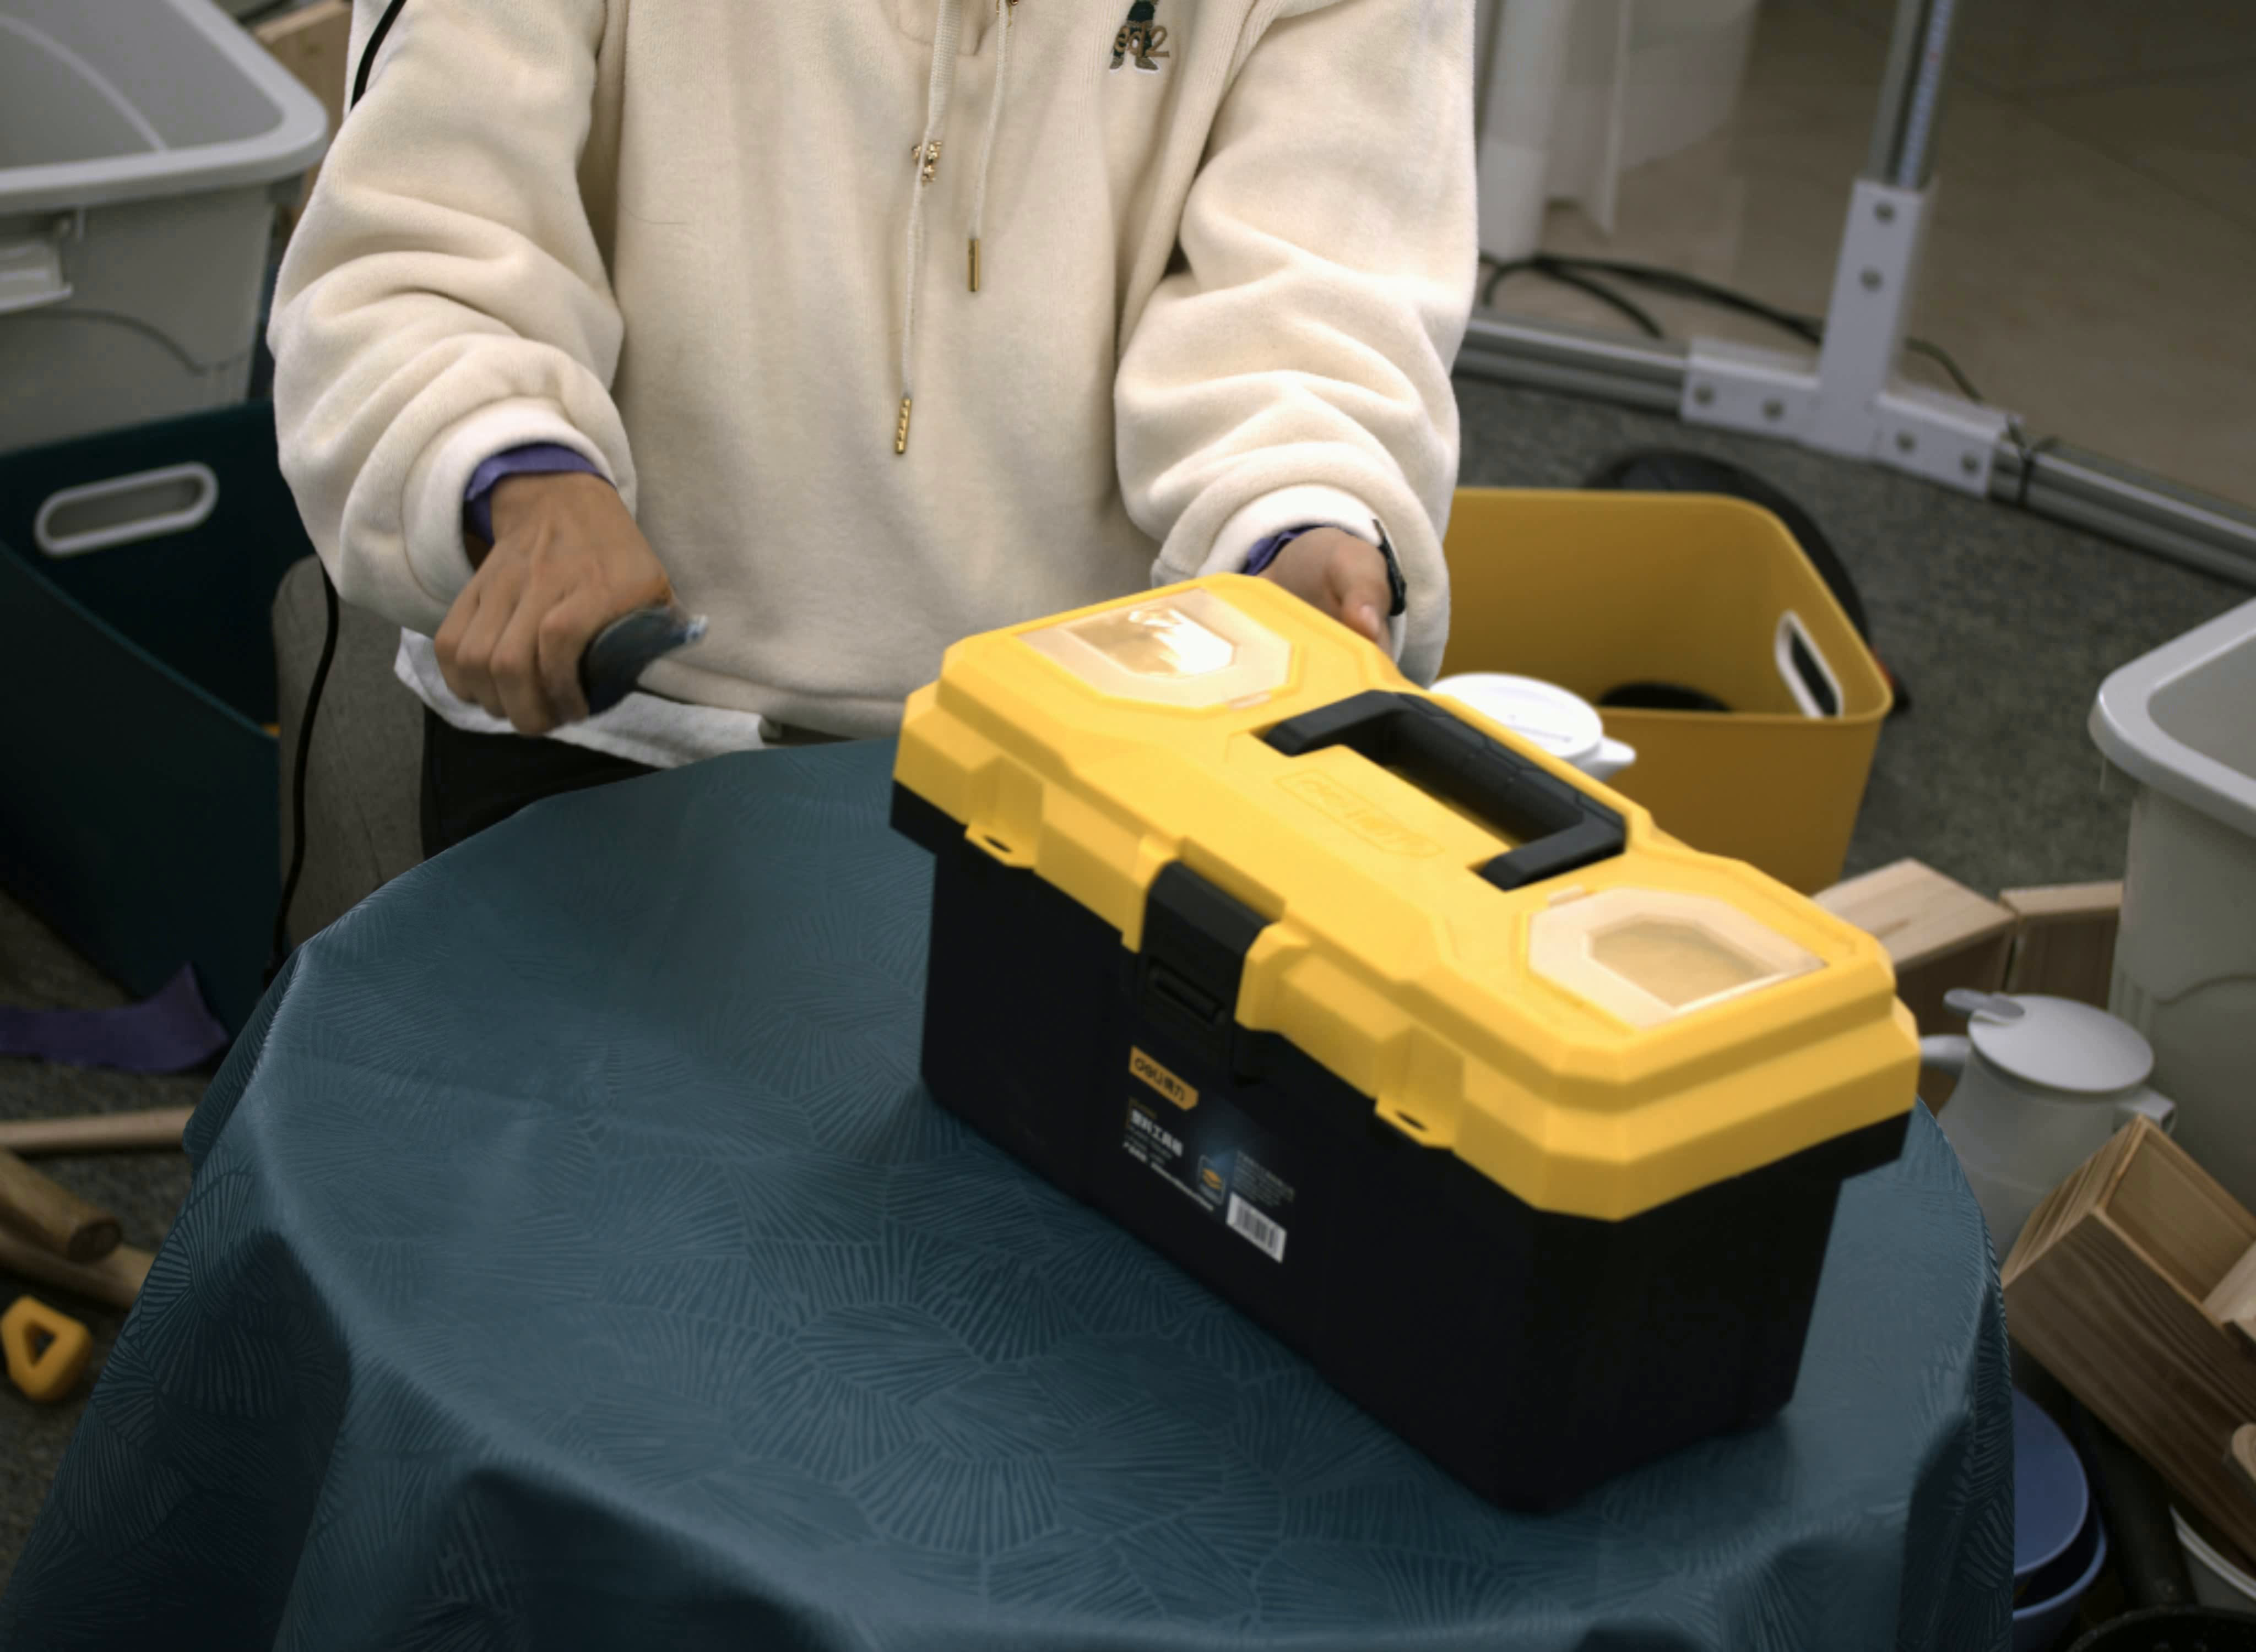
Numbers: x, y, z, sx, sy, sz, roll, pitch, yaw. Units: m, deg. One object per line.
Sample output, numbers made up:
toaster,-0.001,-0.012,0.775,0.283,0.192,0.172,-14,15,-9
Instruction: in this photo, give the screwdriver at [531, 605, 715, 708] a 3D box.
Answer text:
screwdriver,-0.173,-0.064,1.816,0.031,0.031,0.196,-2,-6,-18

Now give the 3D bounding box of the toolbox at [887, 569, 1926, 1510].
toolbox,0.078,0.064,1.746,0.180,0.172,0.354,-15,34,-37
